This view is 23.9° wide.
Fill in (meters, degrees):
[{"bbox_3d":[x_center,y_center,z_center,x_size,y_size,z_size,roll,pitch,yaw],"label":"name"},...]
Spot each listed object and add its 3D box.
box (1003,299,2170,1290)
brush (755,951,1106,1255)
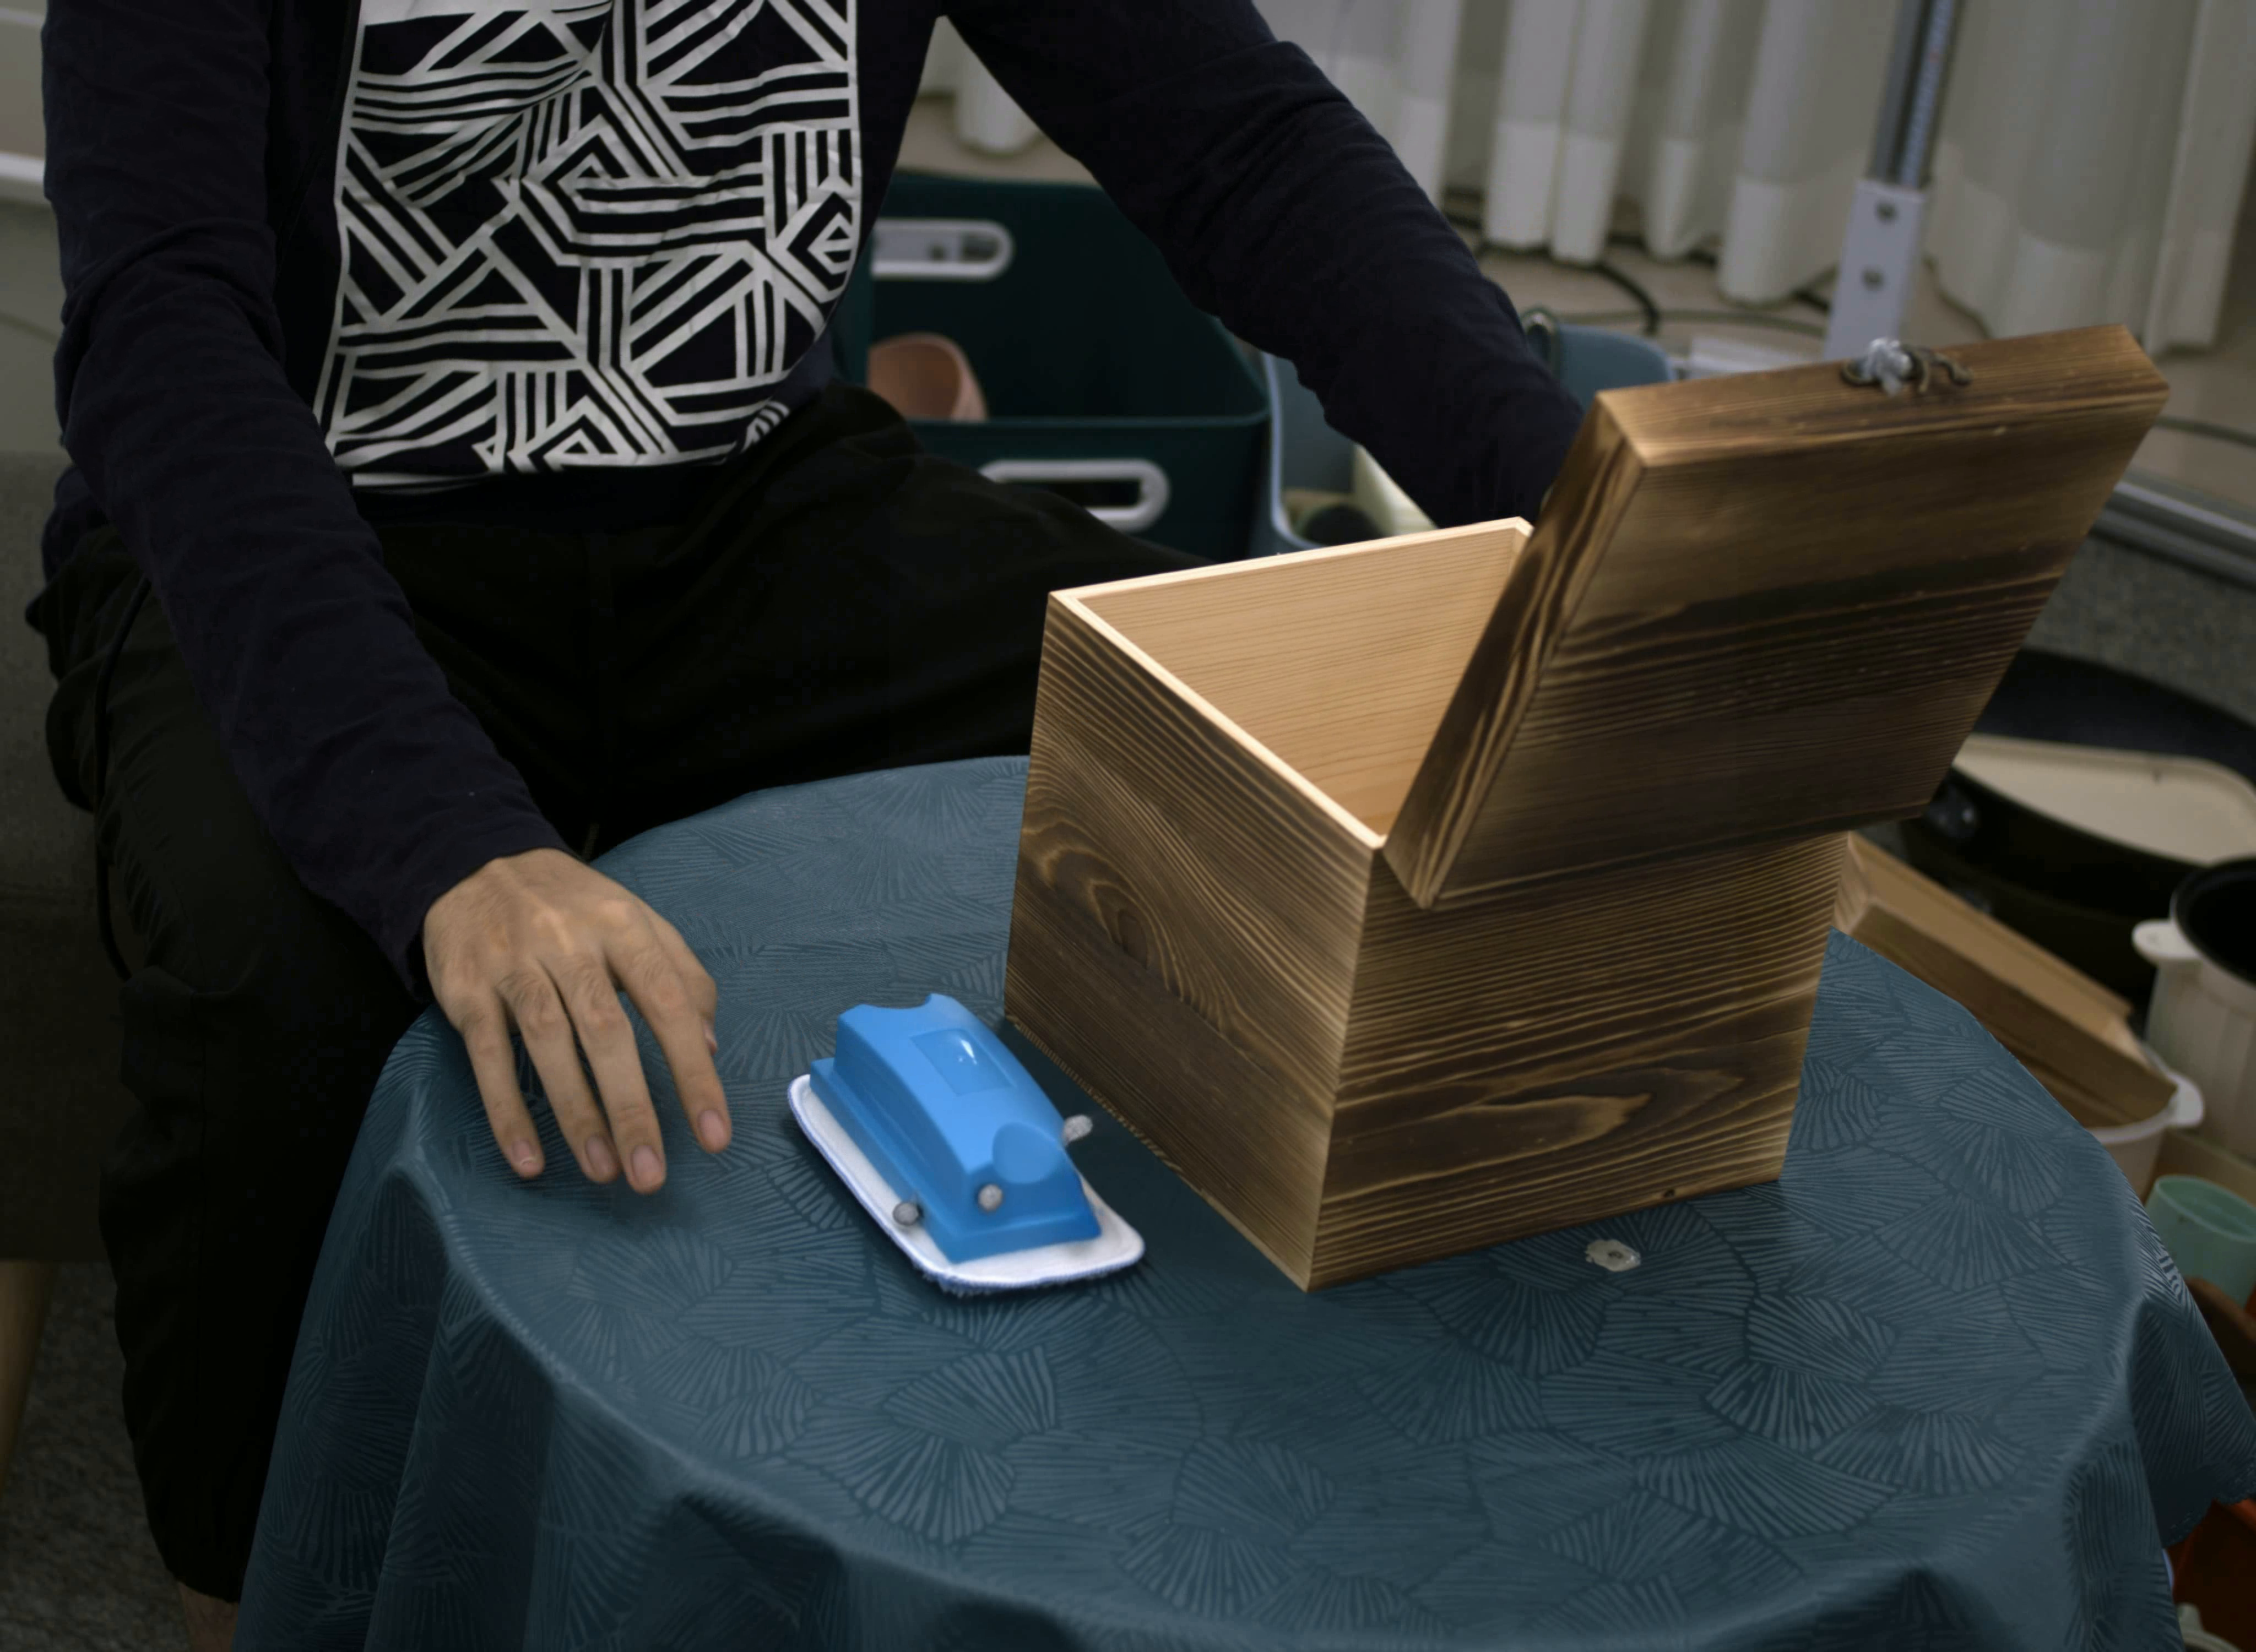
[{"bbox_3d":[0.139,-0.042,1.766,0.207,0.374,0.325,-10,31,-31],"label":"box"},{"bbox_3d":[-0.063,0.087,1.779,0.083,0.056,0.145,-5,33,-27],"label":"brush"}]
